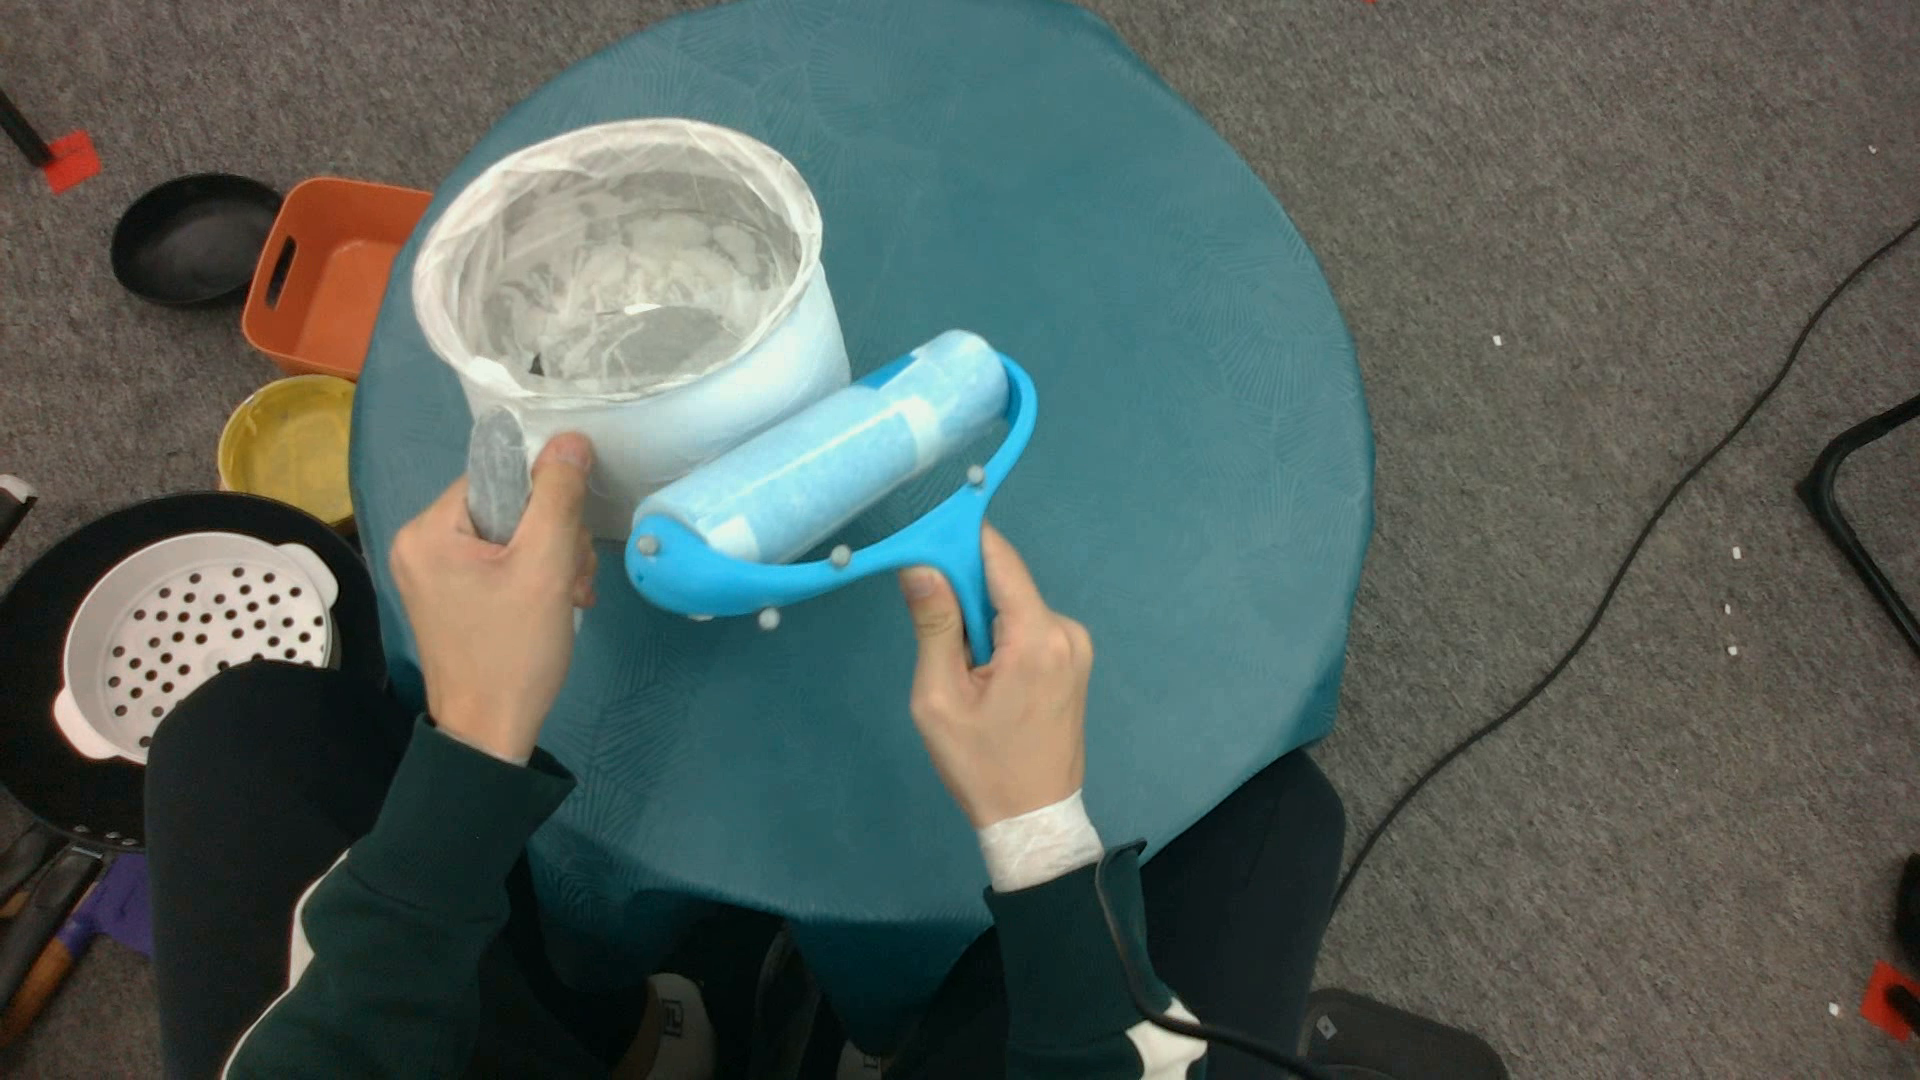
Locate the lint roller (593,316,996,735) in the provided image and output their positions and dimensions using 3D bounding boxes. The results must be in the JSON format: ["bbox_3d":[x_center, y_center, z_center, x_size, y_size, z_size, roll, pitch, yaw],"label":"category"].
[{"bbox_3d":[-0.032,0.005,0.614,0.180,0.067,0.230,48,46,-2],"label":"lint roller"}]

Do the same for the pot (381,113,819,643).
[{"bbox_3d":[-0.167,-0.072,0.635,0.178,0.136,0.235,12,56,12],"label":"pot"}]
